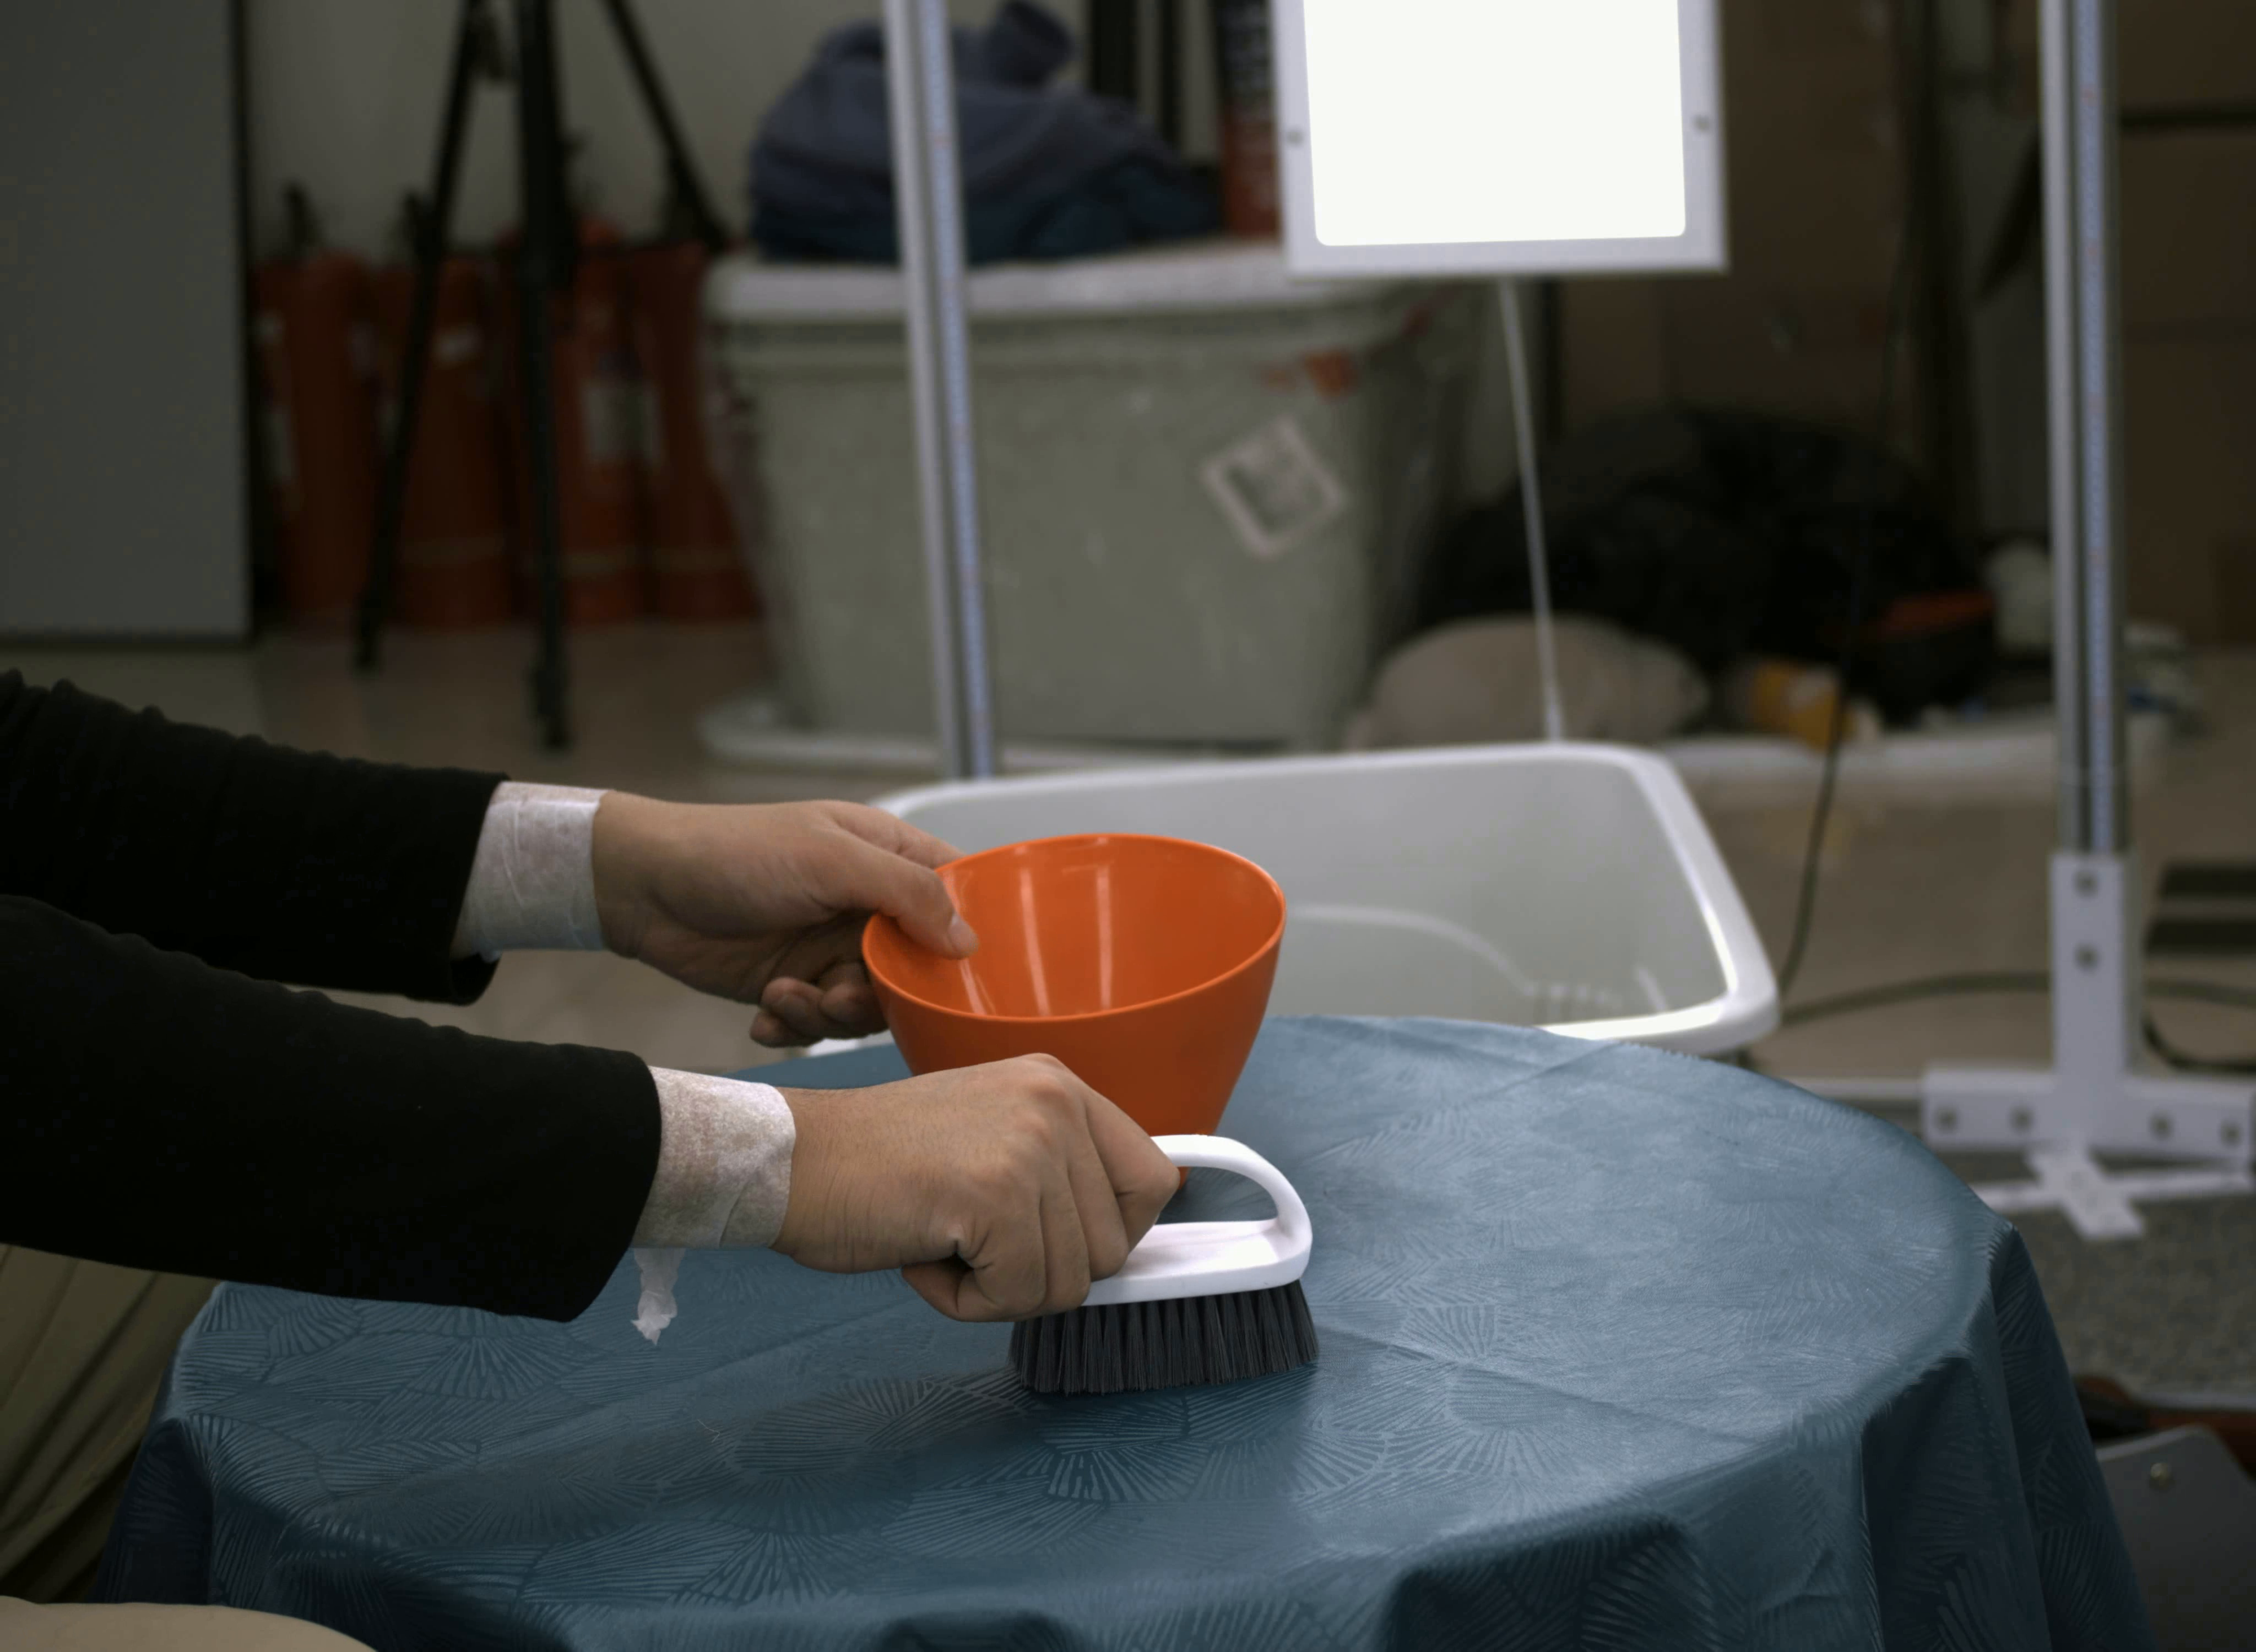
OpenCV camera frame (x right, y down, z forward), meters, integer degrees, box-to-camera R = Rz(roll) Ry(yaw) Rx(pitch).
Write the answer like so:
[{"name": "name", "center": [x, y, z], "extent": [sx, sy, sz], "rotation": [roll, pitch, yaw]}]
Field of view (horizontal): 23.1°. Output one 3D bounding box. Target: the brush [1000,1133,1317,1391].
[{"name": "brush", "center": [0.009, 0.132, 1.714], "extent": [0.098, 0.073, 0.050], "rotation": [-4, 16, -5]}]

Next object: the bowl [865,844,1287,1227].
[{"name": "bowl", "center": [-0.014, 0.076, 1.906], "extent": [0.148, 0.105, 0.148], "rotation": [-6, 14, 0]}]
